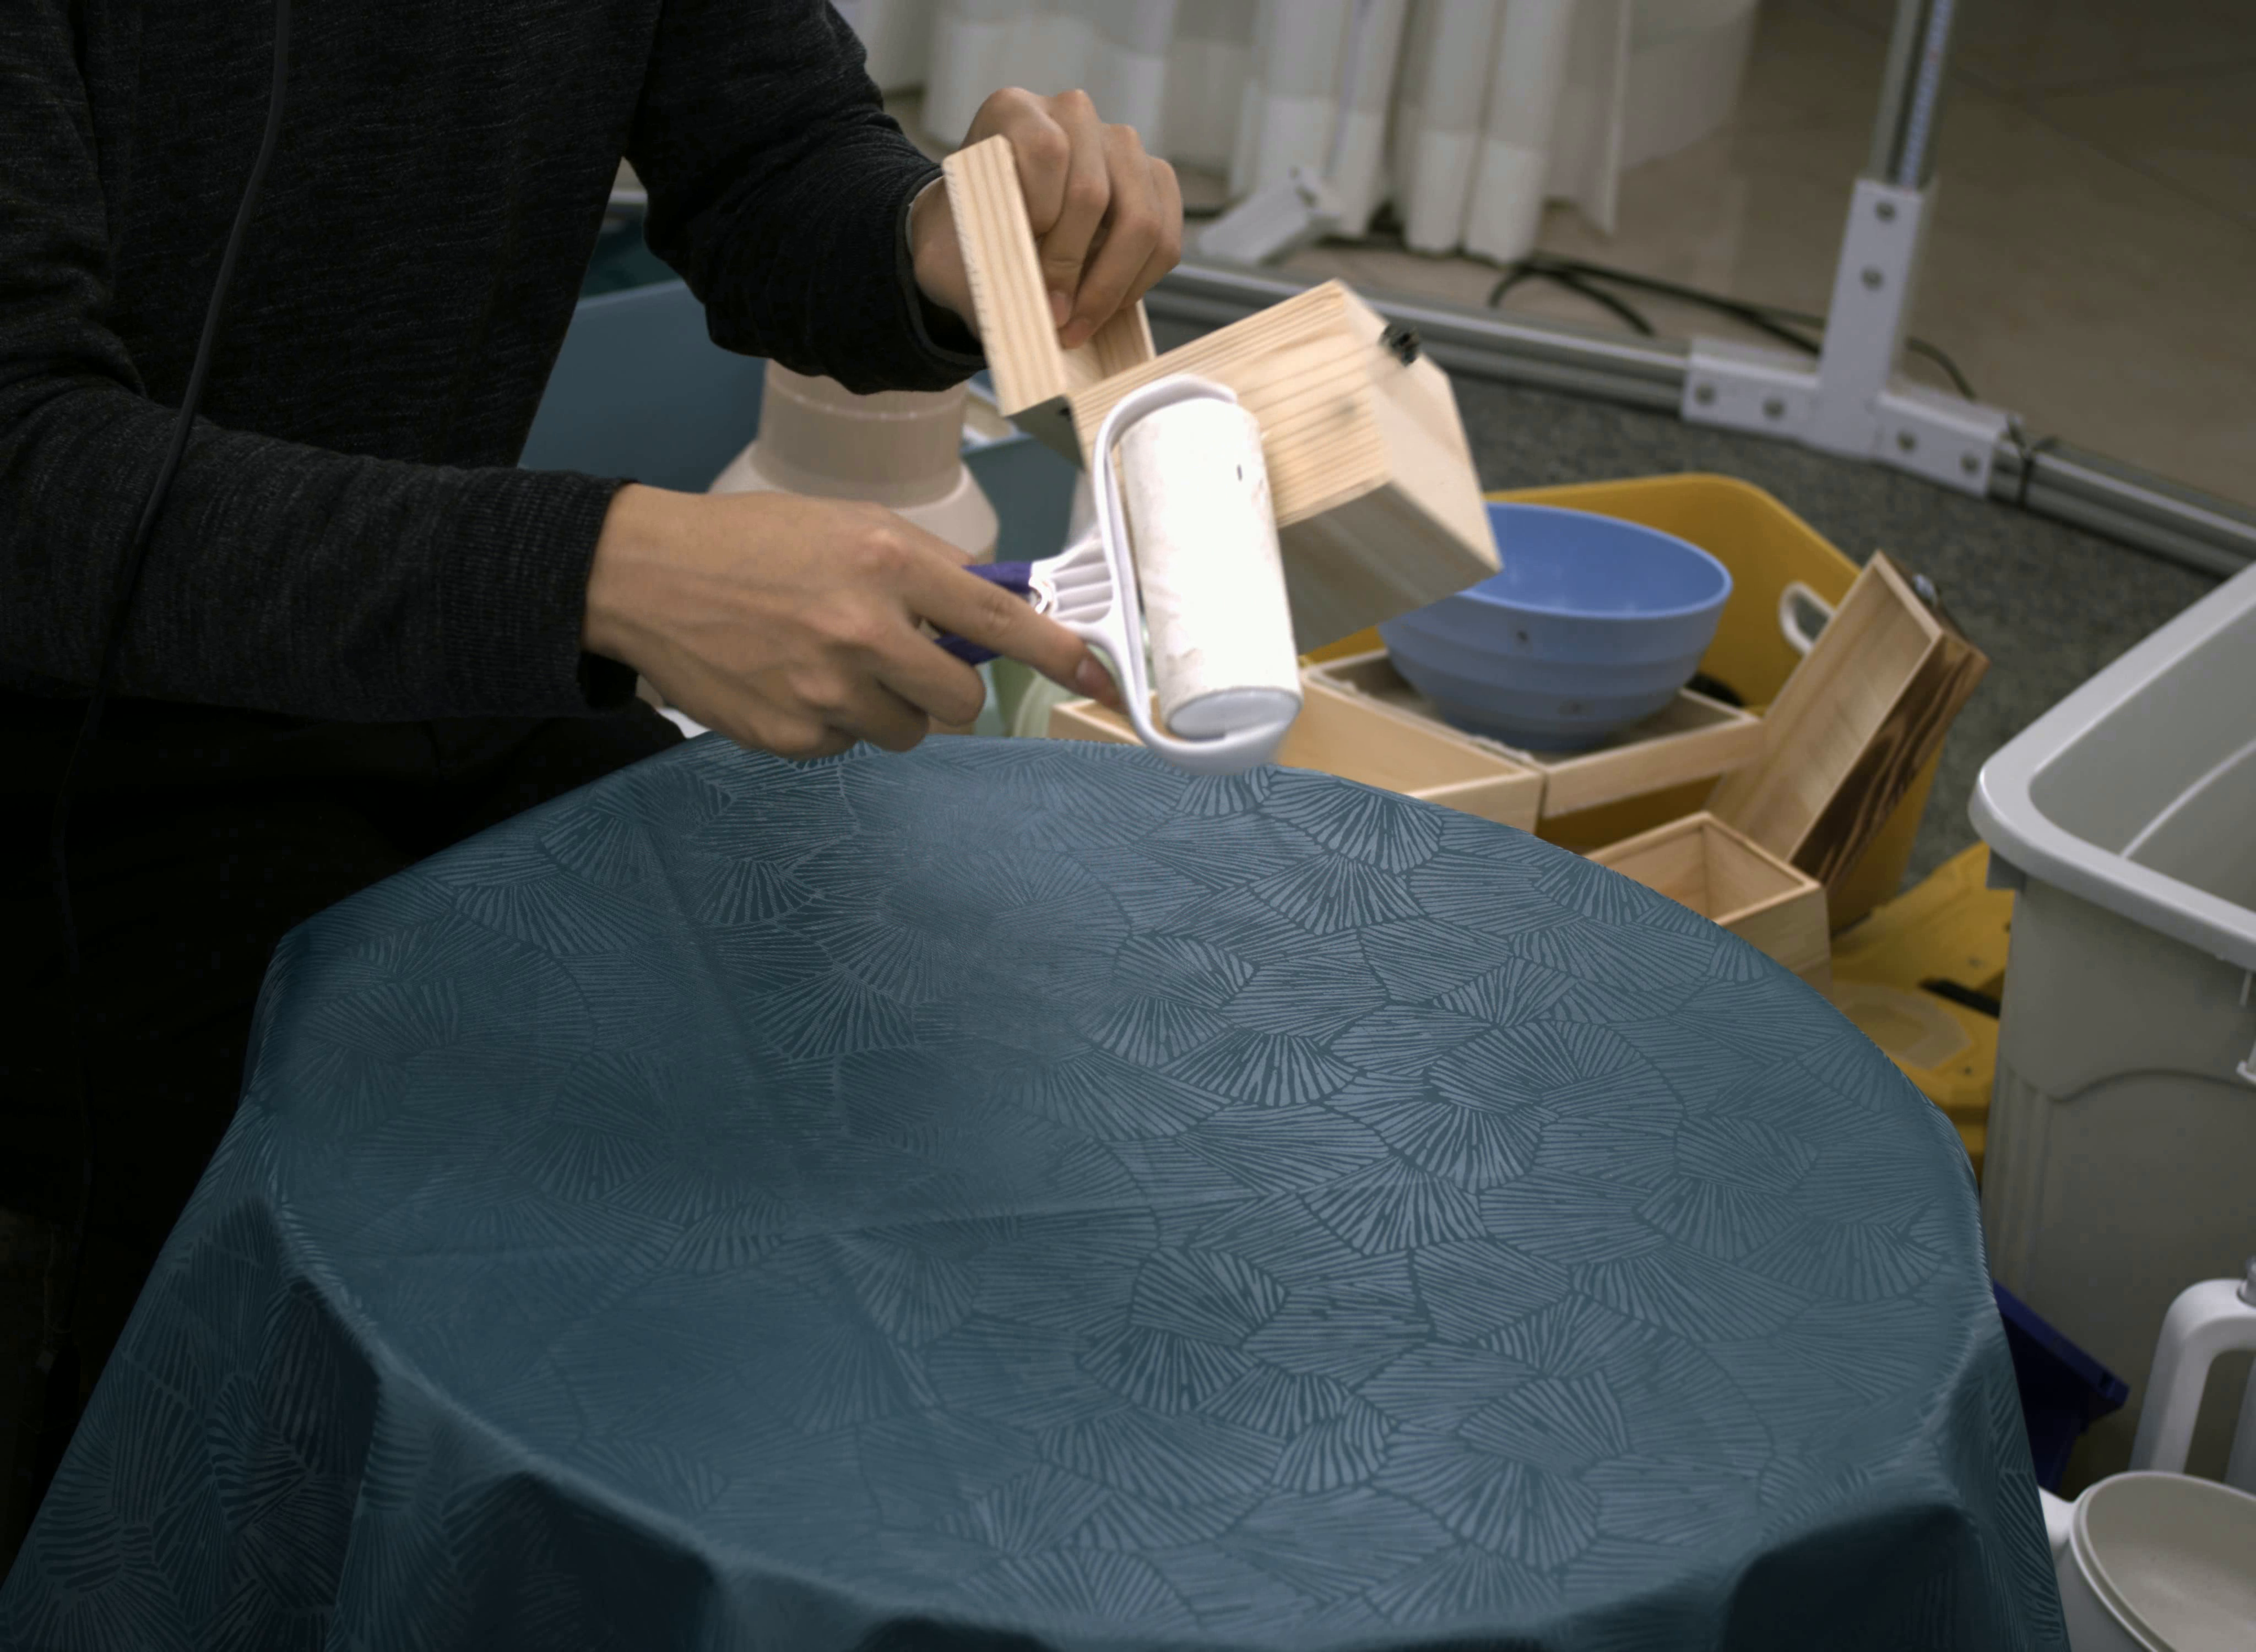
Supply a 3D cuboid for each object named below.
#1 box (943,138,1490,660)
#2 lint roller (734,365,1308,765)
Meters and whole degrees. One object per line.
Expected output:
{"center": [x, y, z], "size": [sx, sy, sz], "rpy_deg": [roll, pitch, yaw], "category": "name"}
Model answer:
{"center": [0.031, -0.158, 1.817], "size": [0.134, 0.186, 0.102], "rpy_deg": [-22, -25, 20], "category": "box"}
{"center": [-0.038, -0.078, 1.707], "size": [0.180, 0.050, 0.134], "rpy_deg": [-5, 69, -3], "category": "lint roller"}
